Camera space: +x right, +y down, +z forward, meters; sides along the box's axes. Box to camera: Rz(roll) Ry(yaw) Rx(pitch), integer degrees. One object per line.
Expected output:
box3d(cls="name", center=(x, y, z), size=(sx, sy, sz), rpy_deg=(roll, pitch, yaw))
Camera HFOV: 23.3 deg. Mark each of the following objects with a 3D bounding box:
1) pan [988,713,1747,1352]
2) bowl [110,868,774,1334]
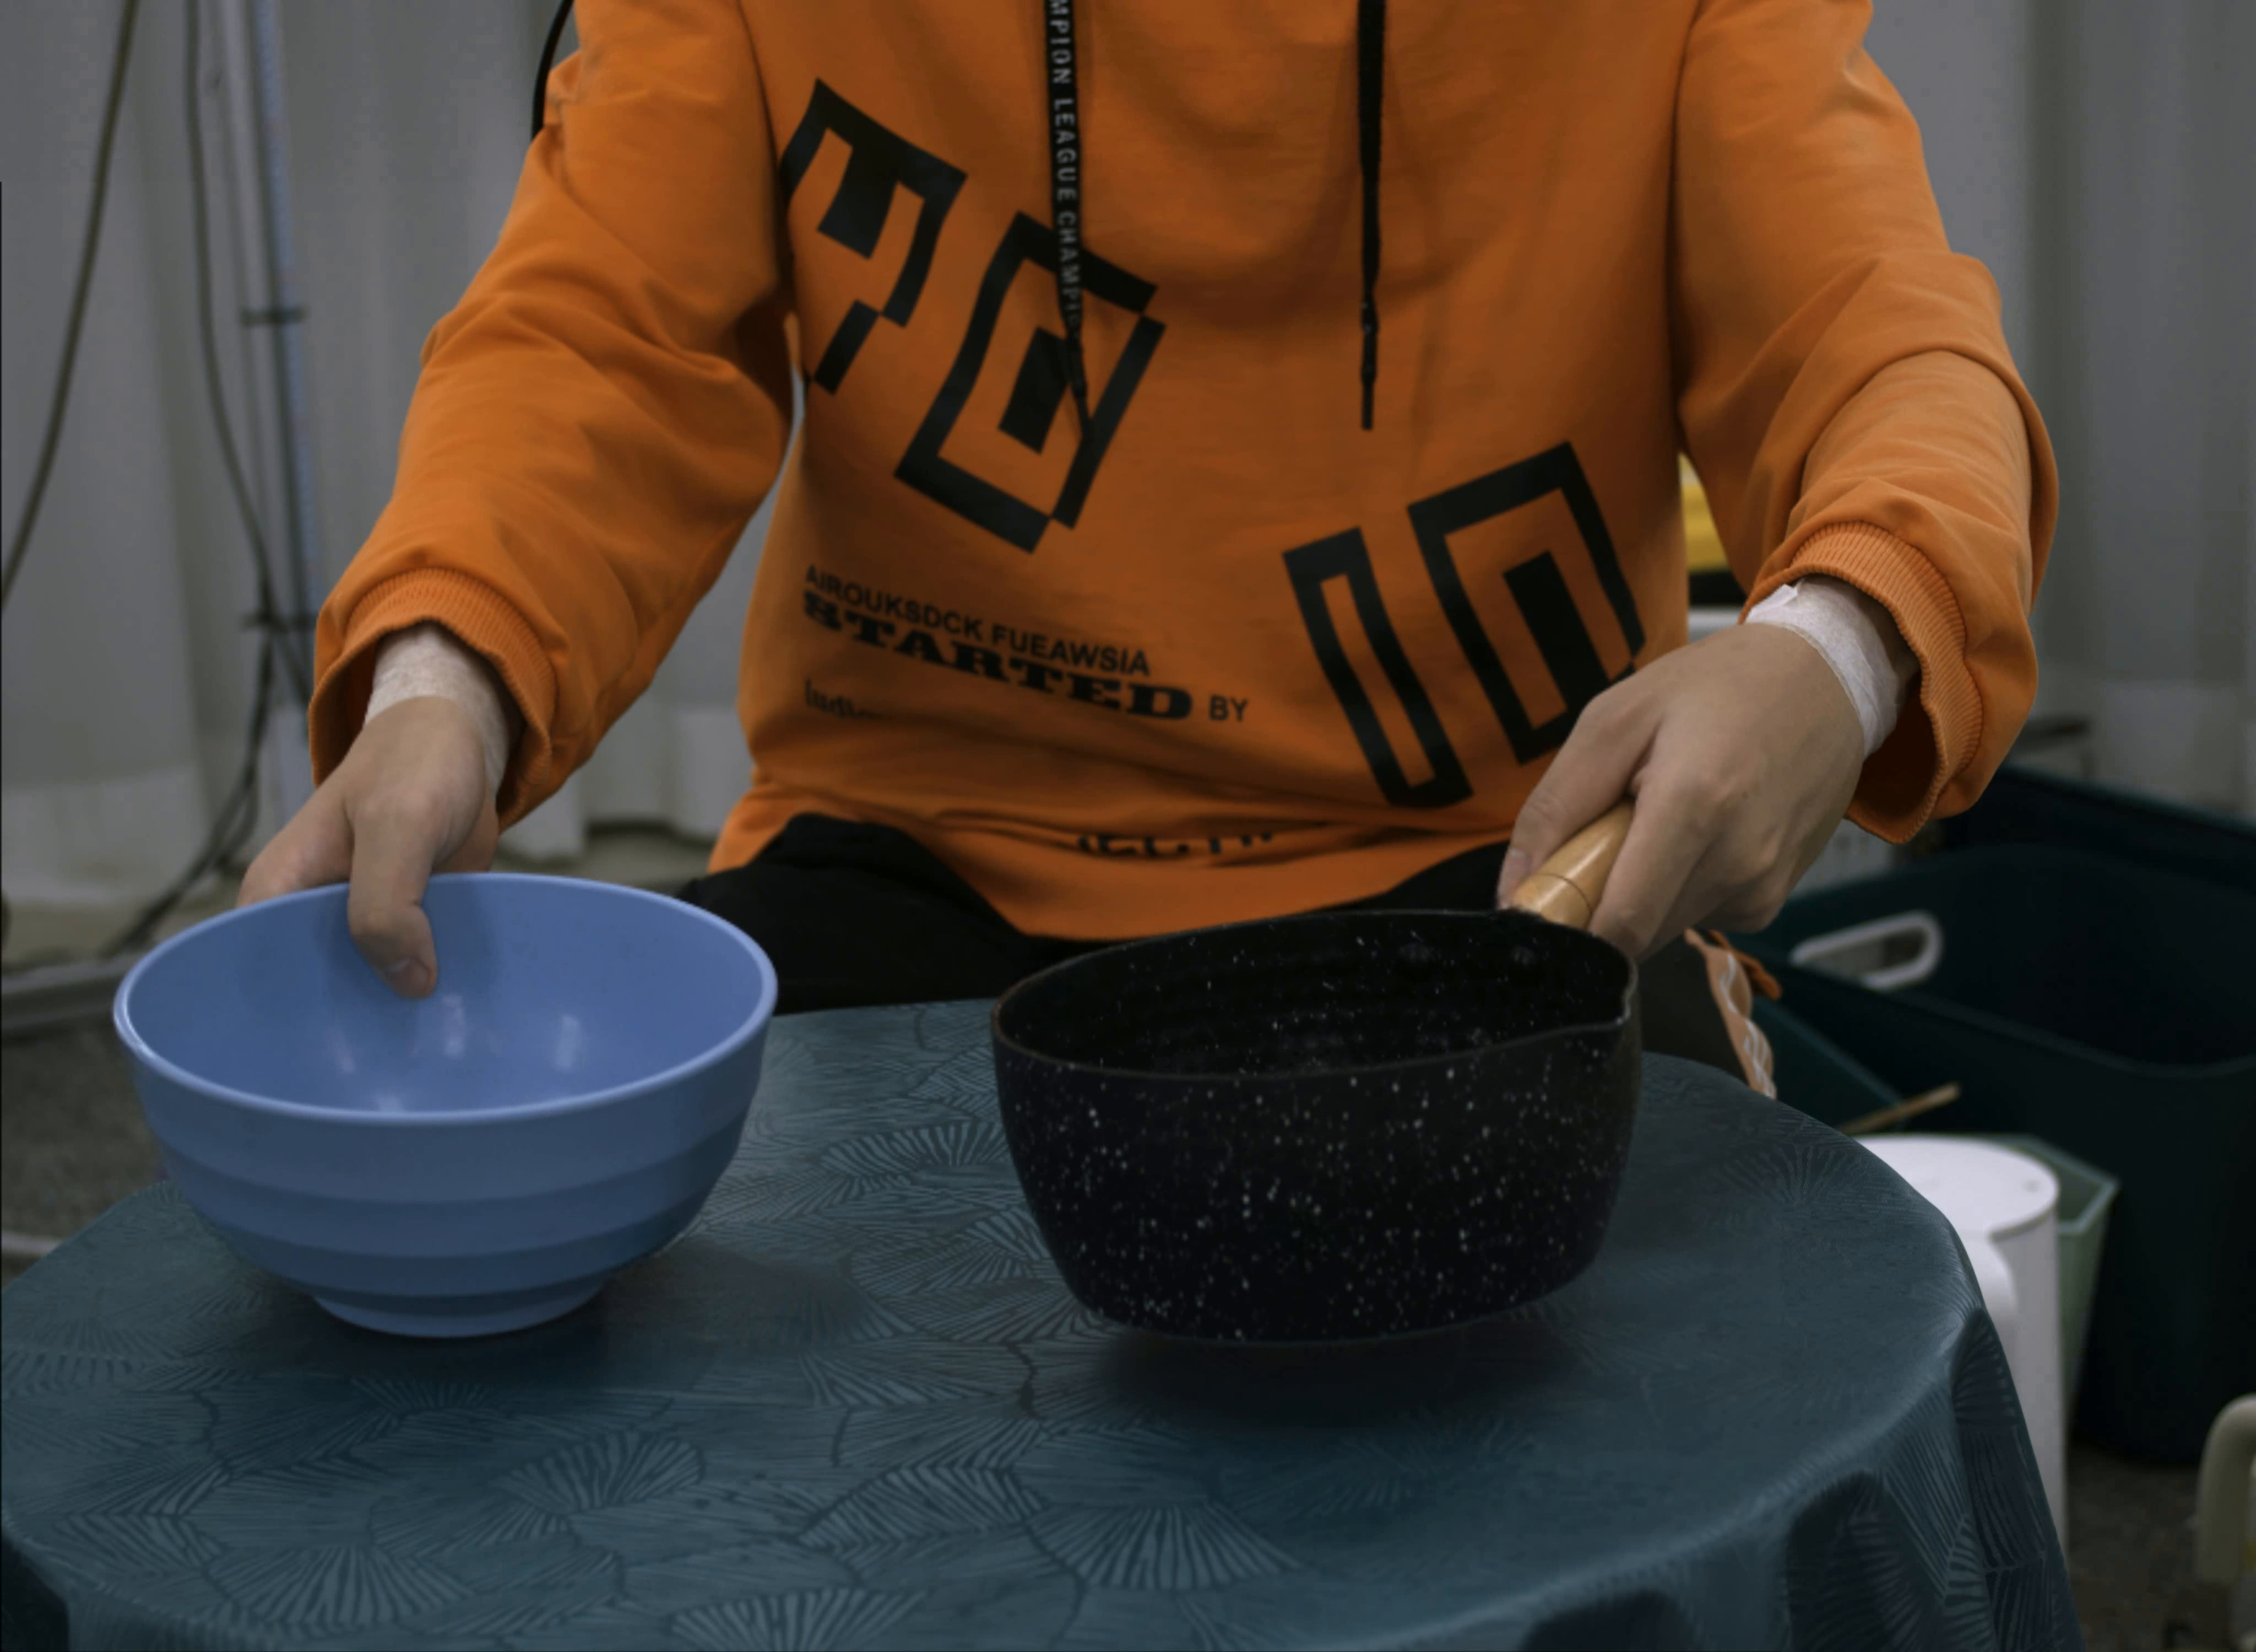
box3d(cls="pan", center=(0.097, 0.057, 1.616), size=(0.208, 0.108, 0.343), rpy_deg=(2, 15, 33))
box3d(cls="bowl", center=(-0.203, 0.090, 1.638), size=(0.196, 0.095, 0.198), rpy_deg=(-1, 20, 0))
